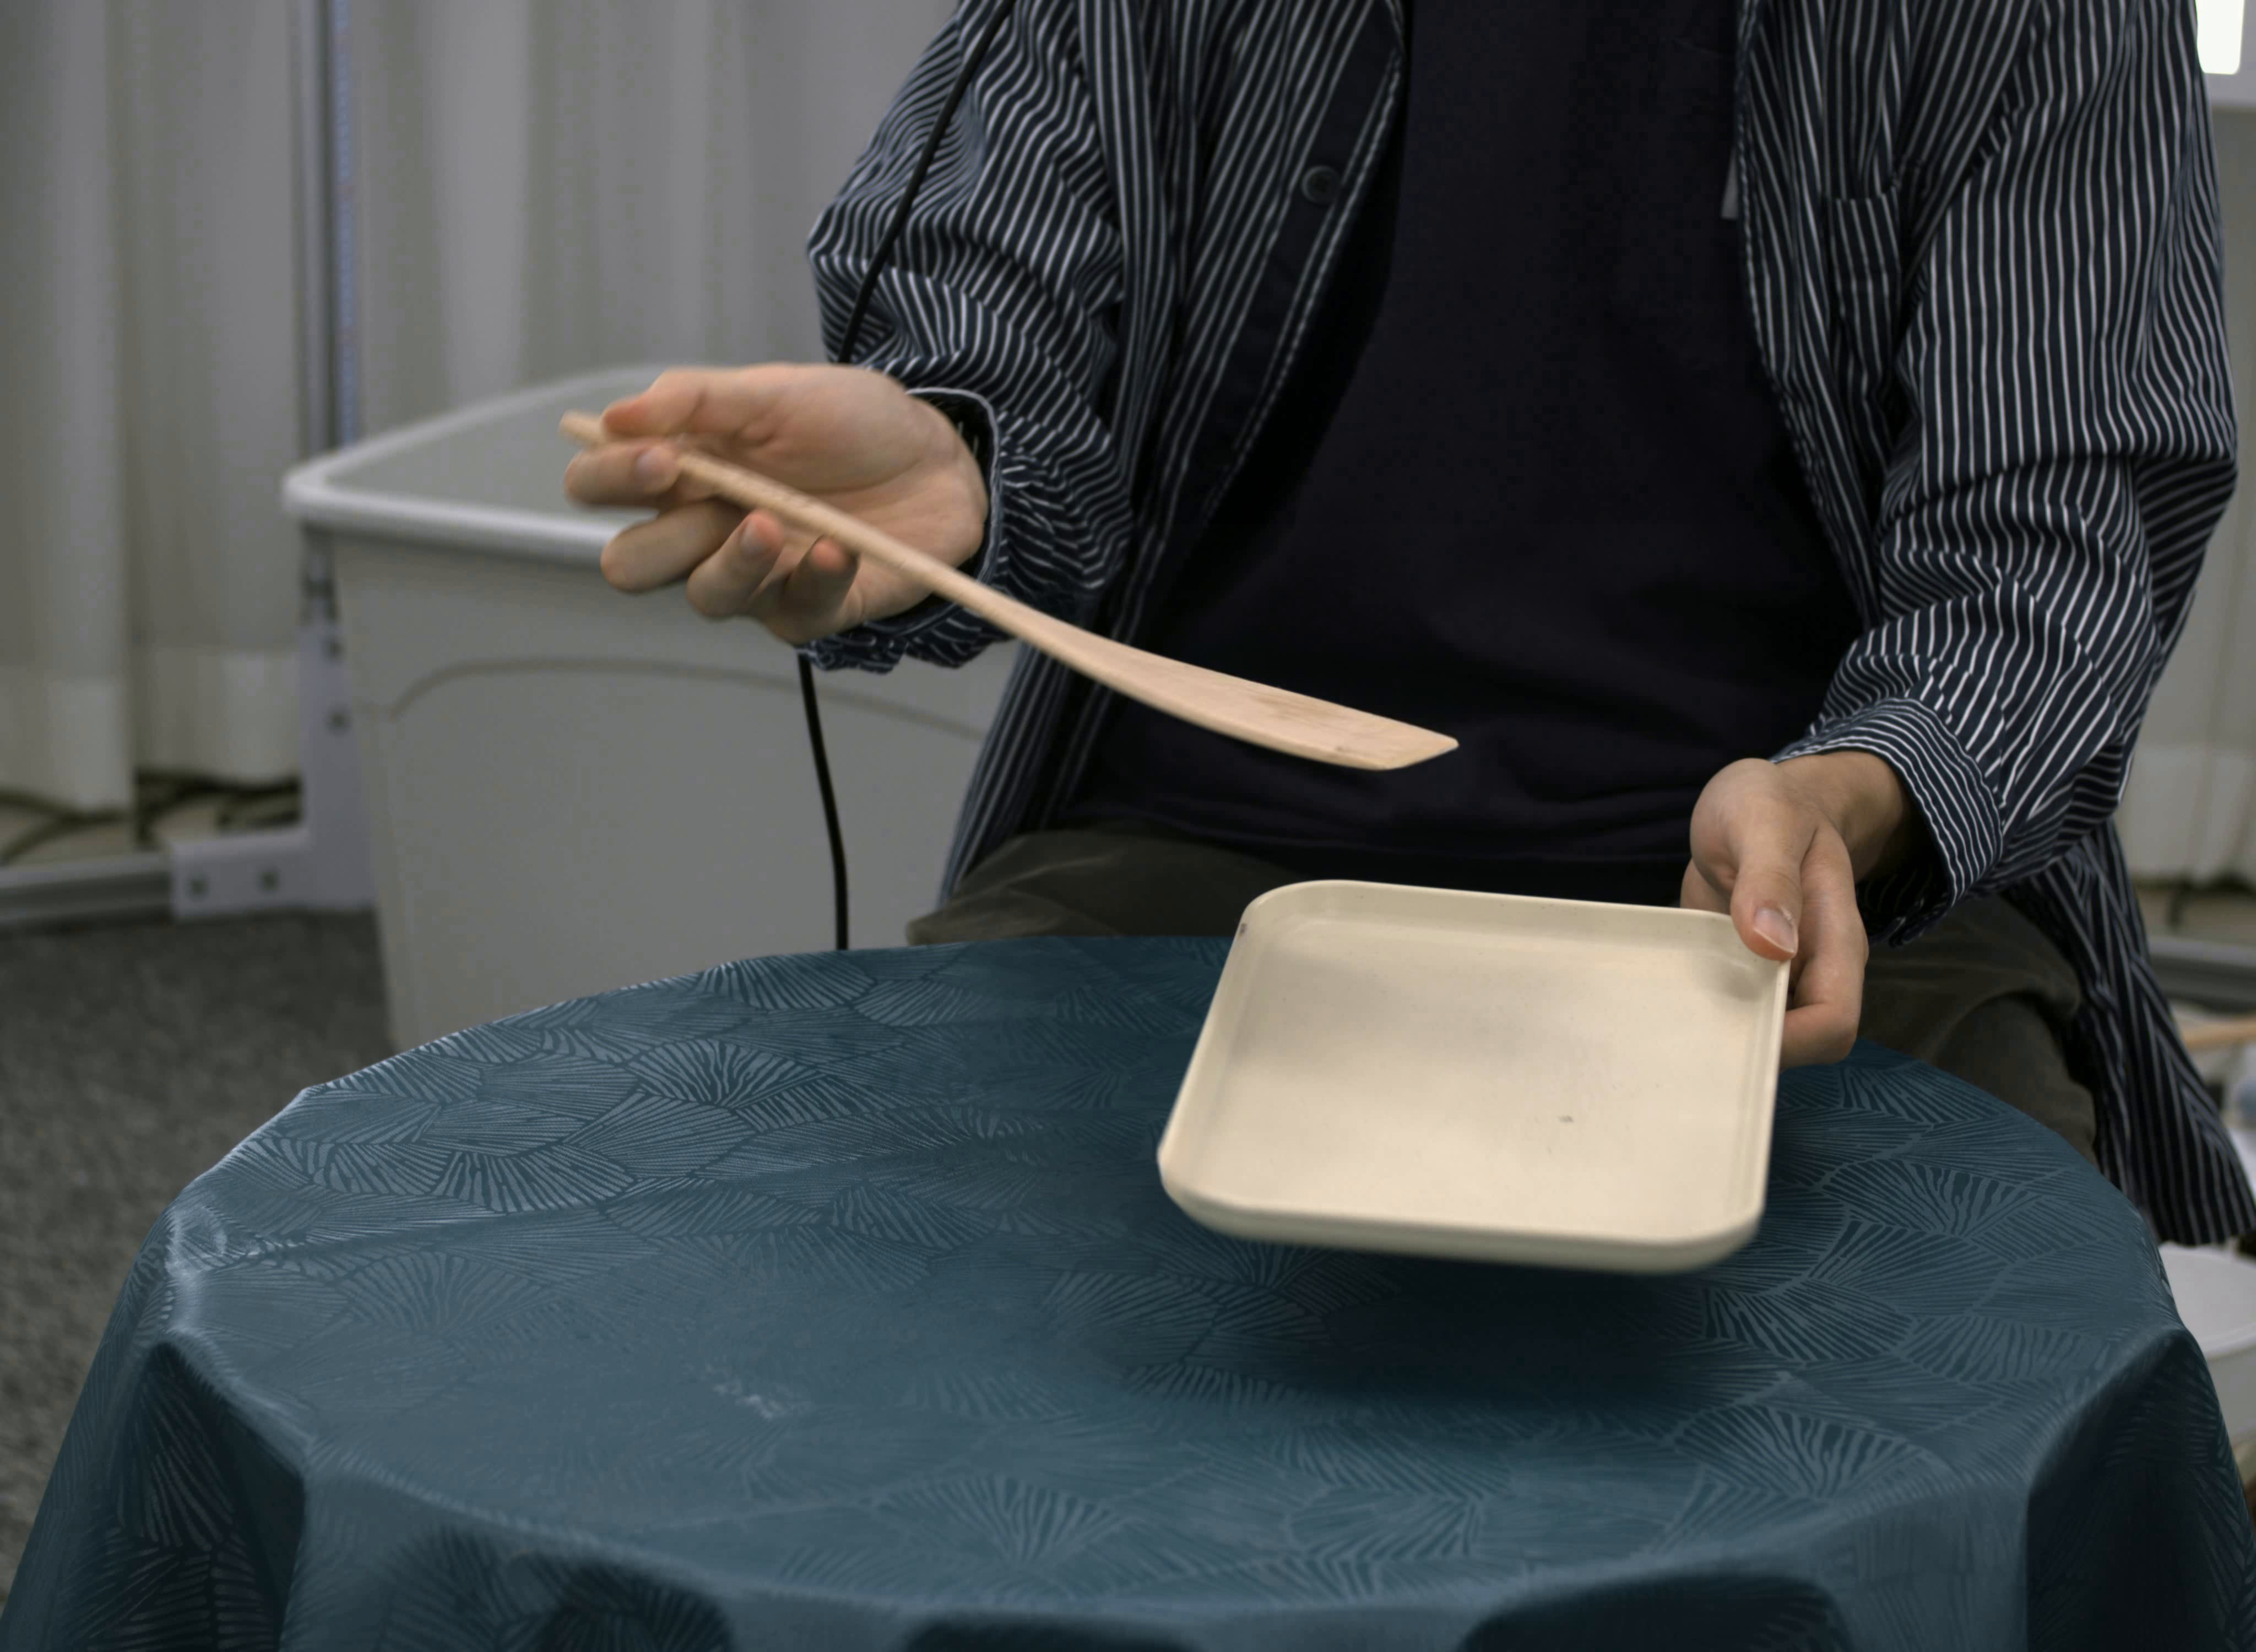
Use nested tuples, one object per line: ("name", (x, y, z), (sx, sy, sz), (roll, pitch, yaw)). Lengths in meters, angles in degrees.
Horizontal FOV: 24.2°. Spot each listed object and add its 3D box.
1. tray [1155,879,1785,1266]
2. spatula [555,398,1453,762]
("tray", (0.105, 0.071, 1.552), (0.170, 0.017, 0.239), (6, 21, 8))
("spatula", (-0.043, -0.077, 1.624), (0.324, 0.016, 0.080), (25, 13, 22))
